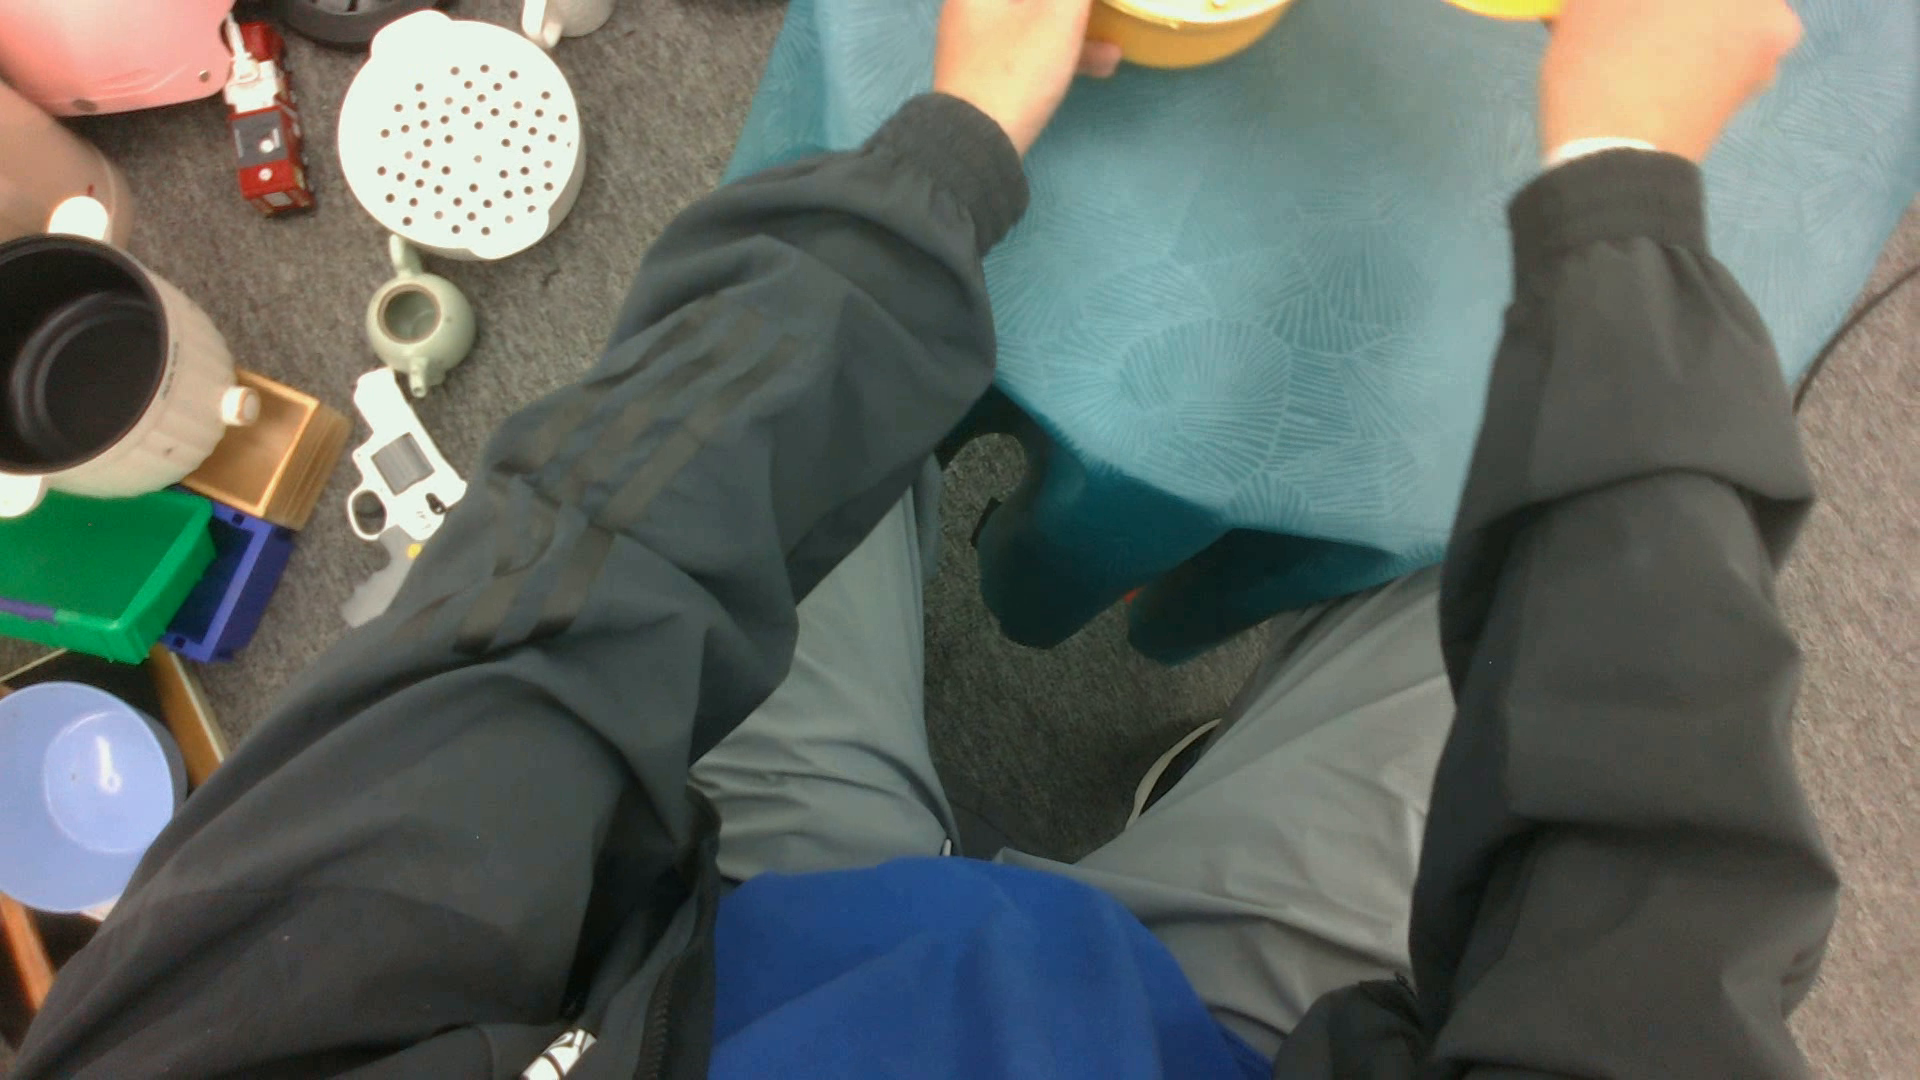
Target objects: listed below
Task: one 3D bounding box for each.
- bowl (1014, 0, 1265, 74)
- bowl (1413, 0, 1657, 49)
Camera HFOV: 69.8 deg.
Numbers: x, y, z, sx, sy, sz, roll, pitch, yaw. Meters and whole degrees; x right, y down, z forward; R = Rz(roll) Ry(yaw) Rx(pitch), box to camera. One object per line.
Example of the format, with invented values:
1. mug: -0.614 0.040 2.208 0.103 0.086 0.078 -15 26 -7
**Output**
1. bowl: 0.076 -0.306 0.678 0.179 0.074 0.153 -3 82 -6
2. bowl: 0.270 -0.293 0.624 0.145 0.060 0.145 5 101 26
